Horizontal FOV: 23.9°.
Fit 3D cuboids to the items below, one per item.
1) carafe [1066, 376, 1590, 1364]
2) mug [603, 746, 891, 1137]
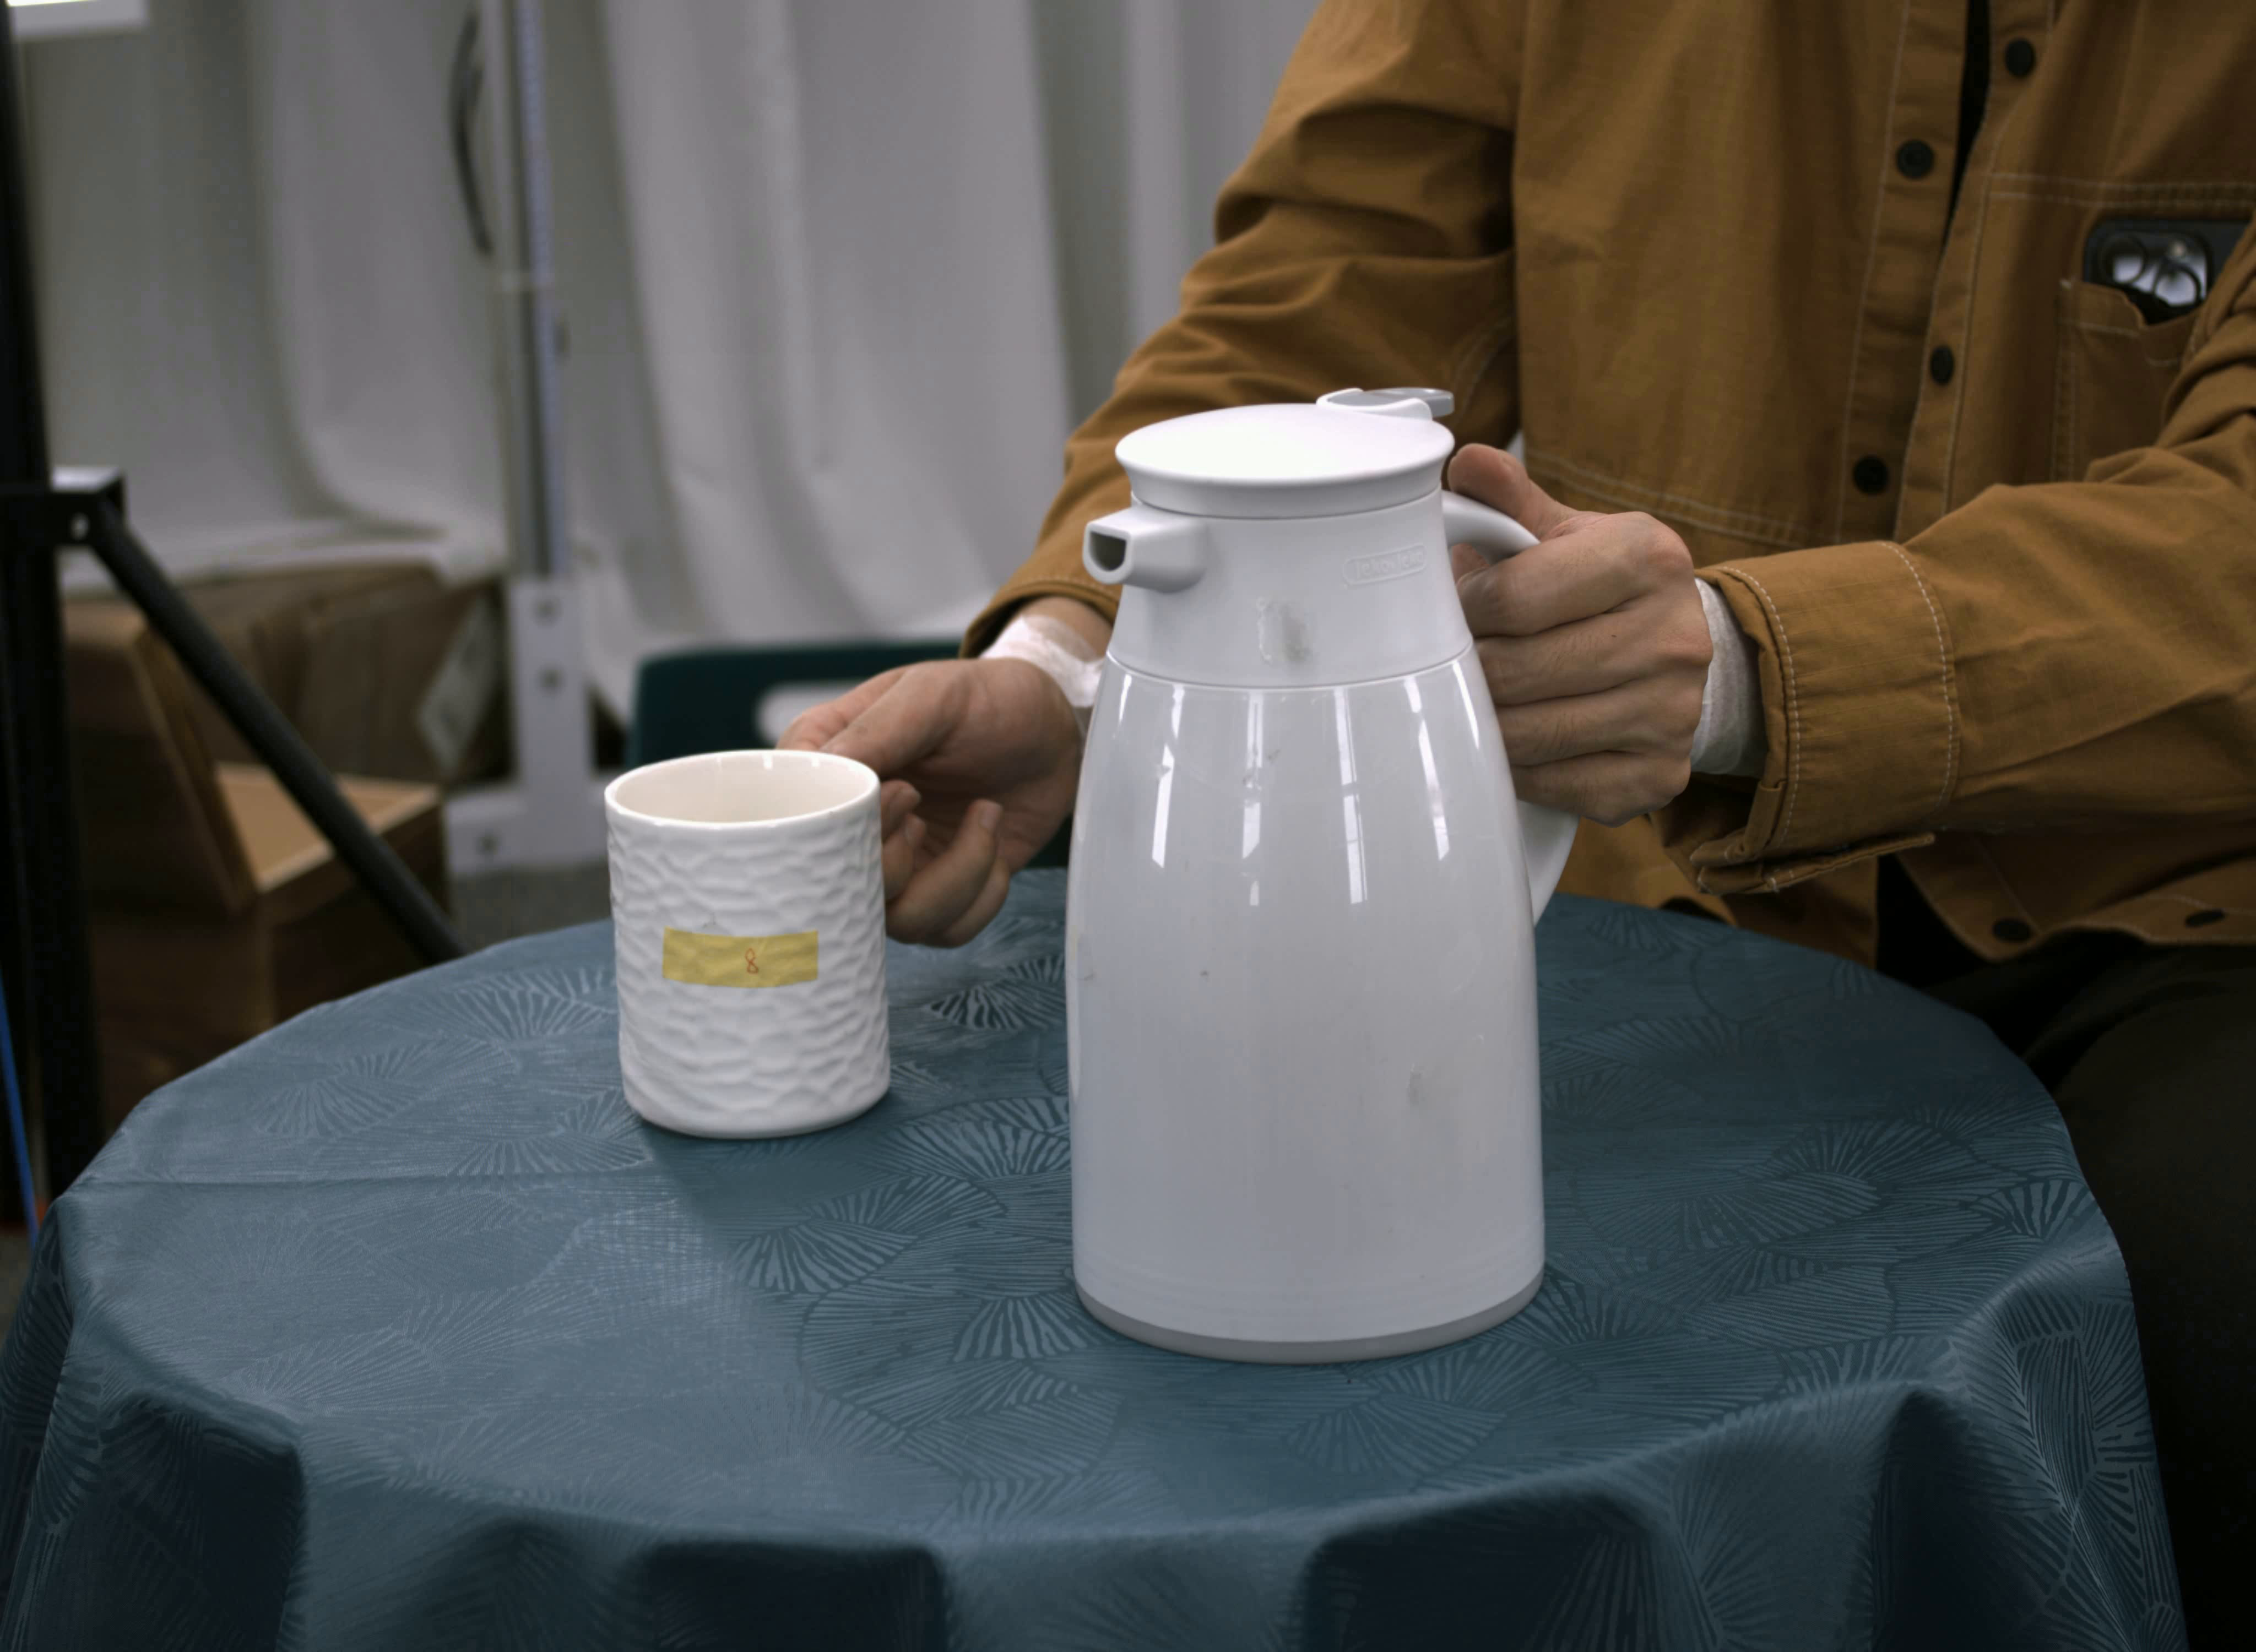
[{"bbox_3d":[0.060,0.004,1.459,0.164,0.248,0.135,-13,18,-37],"label":"carafe"},{"bbox_3d":[-0.111,0.031,1.655,0.086,0.102,0.117,4,17,22],"label":"mug"}]
